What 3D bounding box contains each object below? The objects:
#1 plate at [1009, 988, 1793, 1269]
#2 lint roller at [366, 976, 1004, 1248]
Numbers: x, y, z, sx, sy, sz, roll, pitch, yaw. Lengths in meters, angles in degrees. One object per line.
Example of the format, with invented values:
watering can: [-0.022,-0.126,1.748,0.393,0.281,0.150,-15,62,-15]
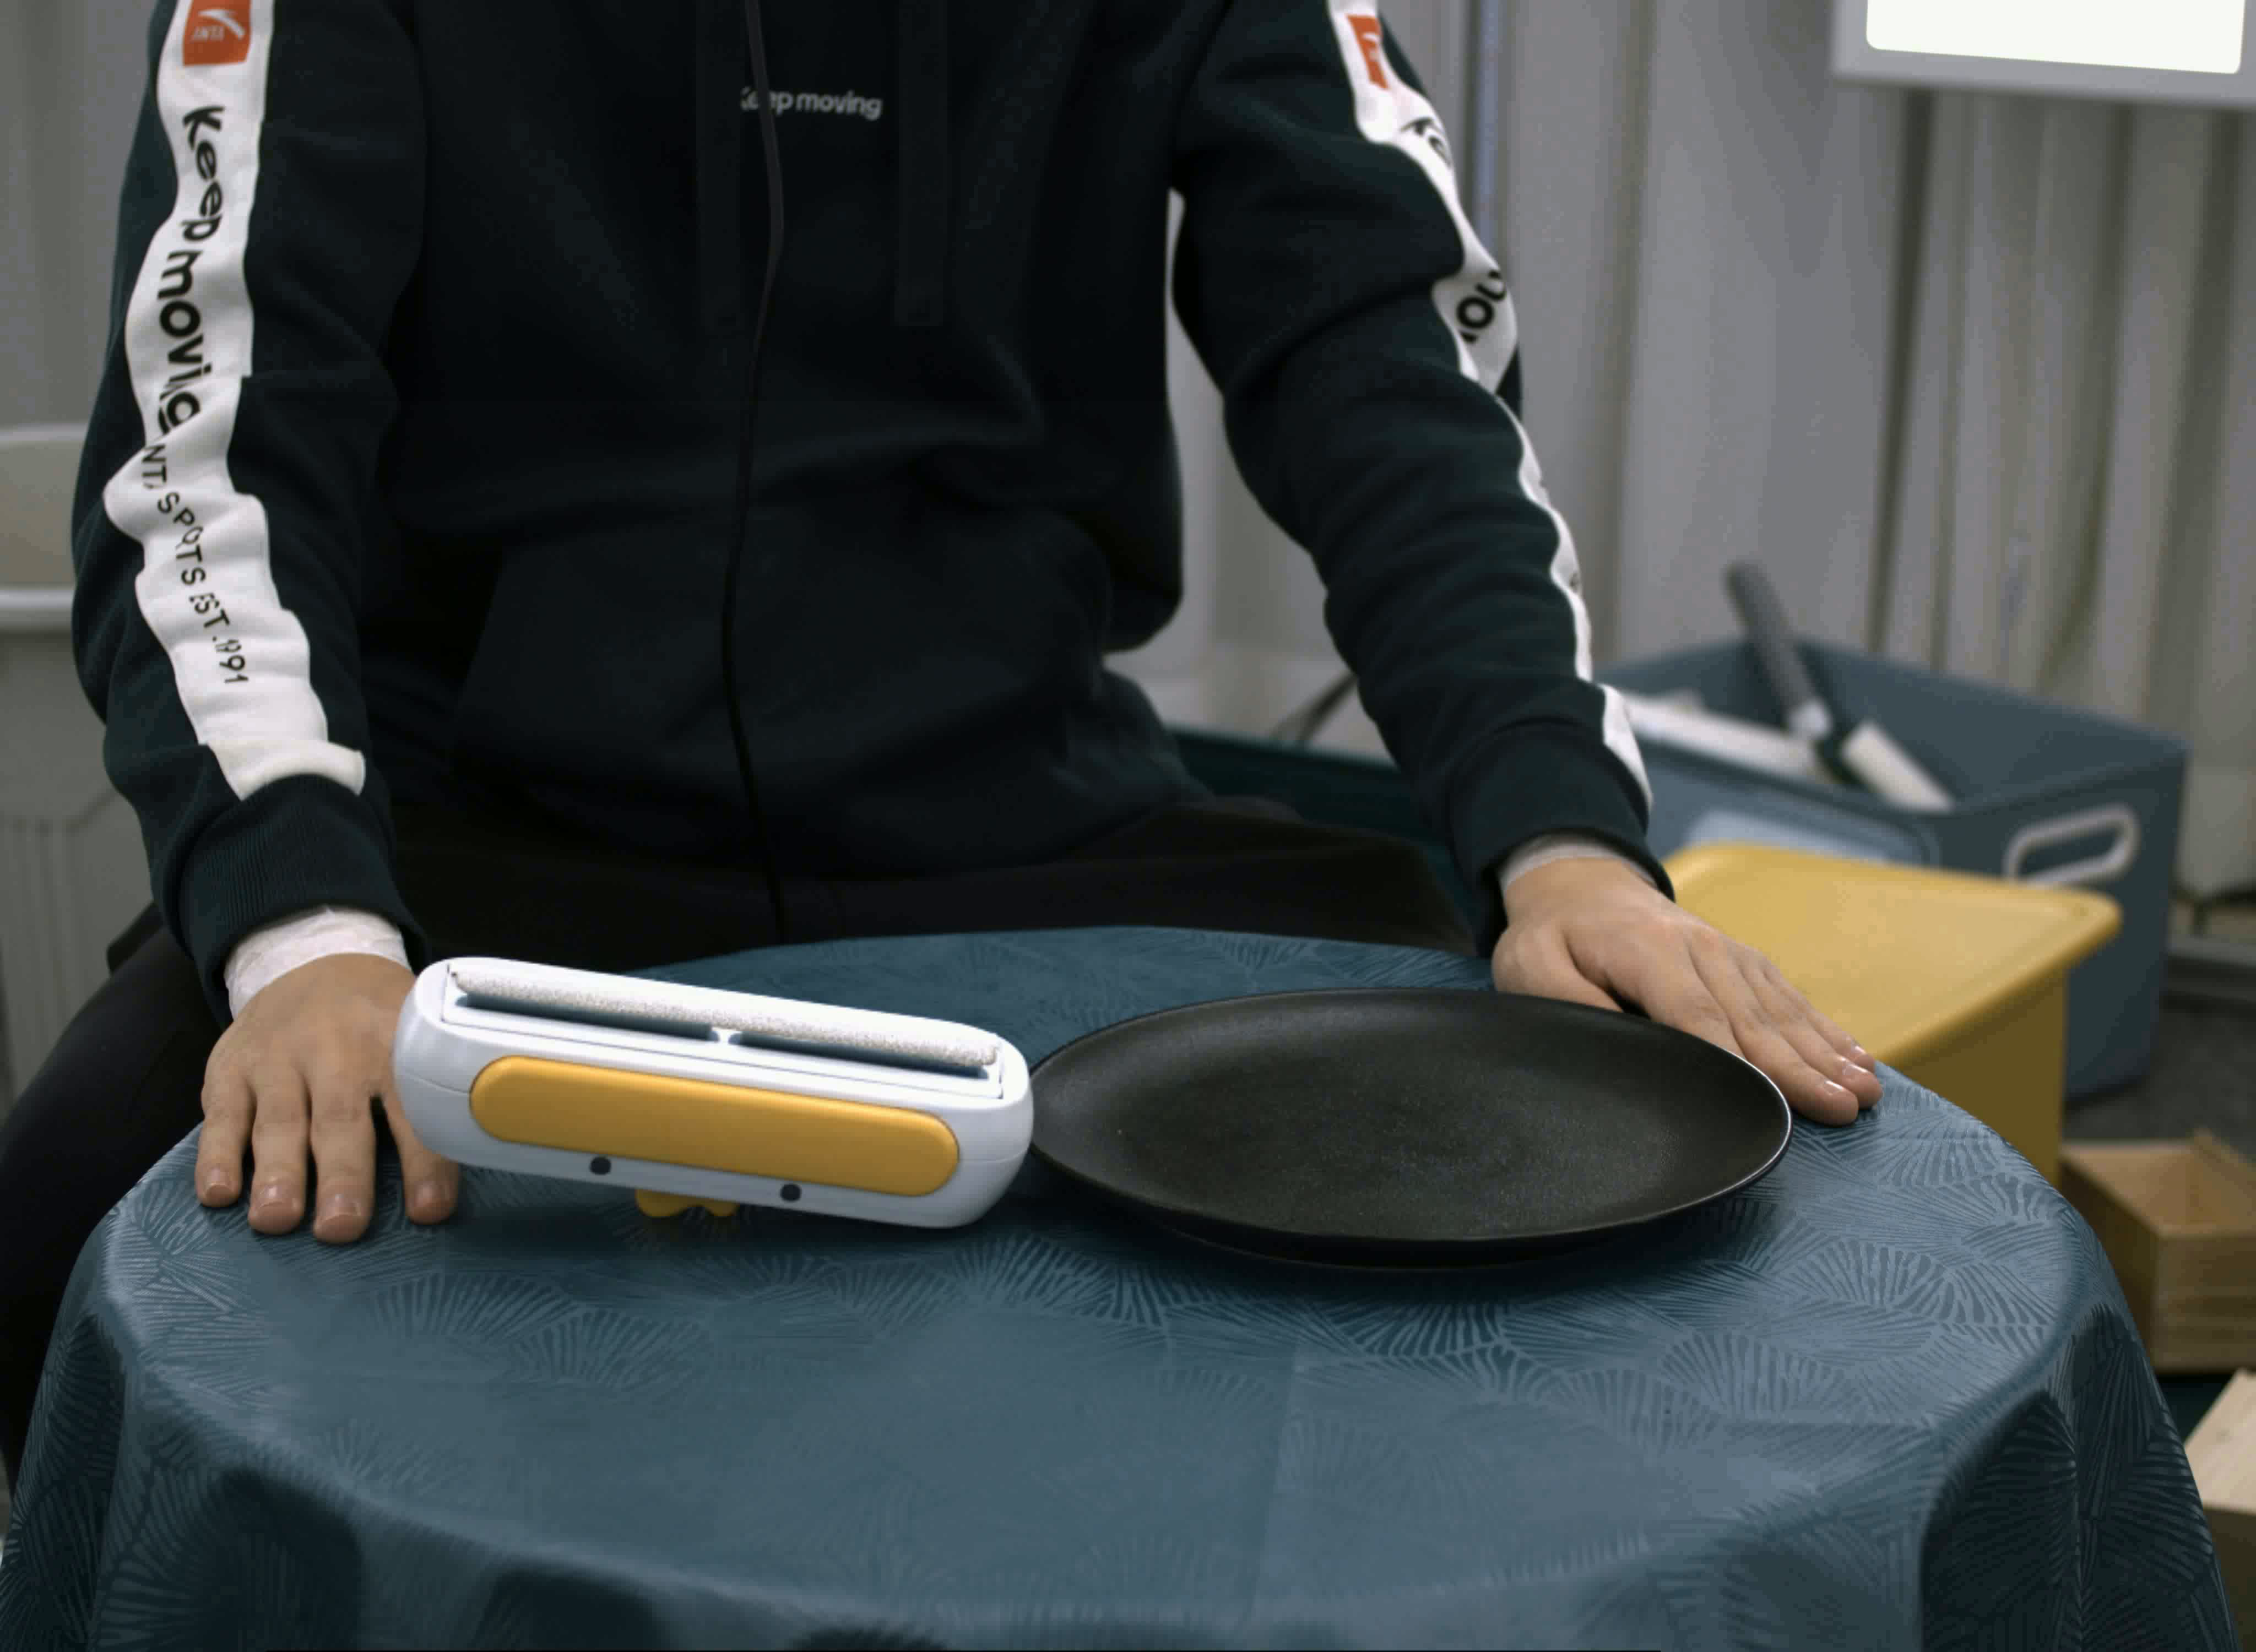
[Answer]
plate: [0.084,0.096,1.637,0.243,0.023,0.243,0,16,0]
lint roller: [-0.134,0.091,1.637,0.192,0.074,0.192,7,1,-2]
